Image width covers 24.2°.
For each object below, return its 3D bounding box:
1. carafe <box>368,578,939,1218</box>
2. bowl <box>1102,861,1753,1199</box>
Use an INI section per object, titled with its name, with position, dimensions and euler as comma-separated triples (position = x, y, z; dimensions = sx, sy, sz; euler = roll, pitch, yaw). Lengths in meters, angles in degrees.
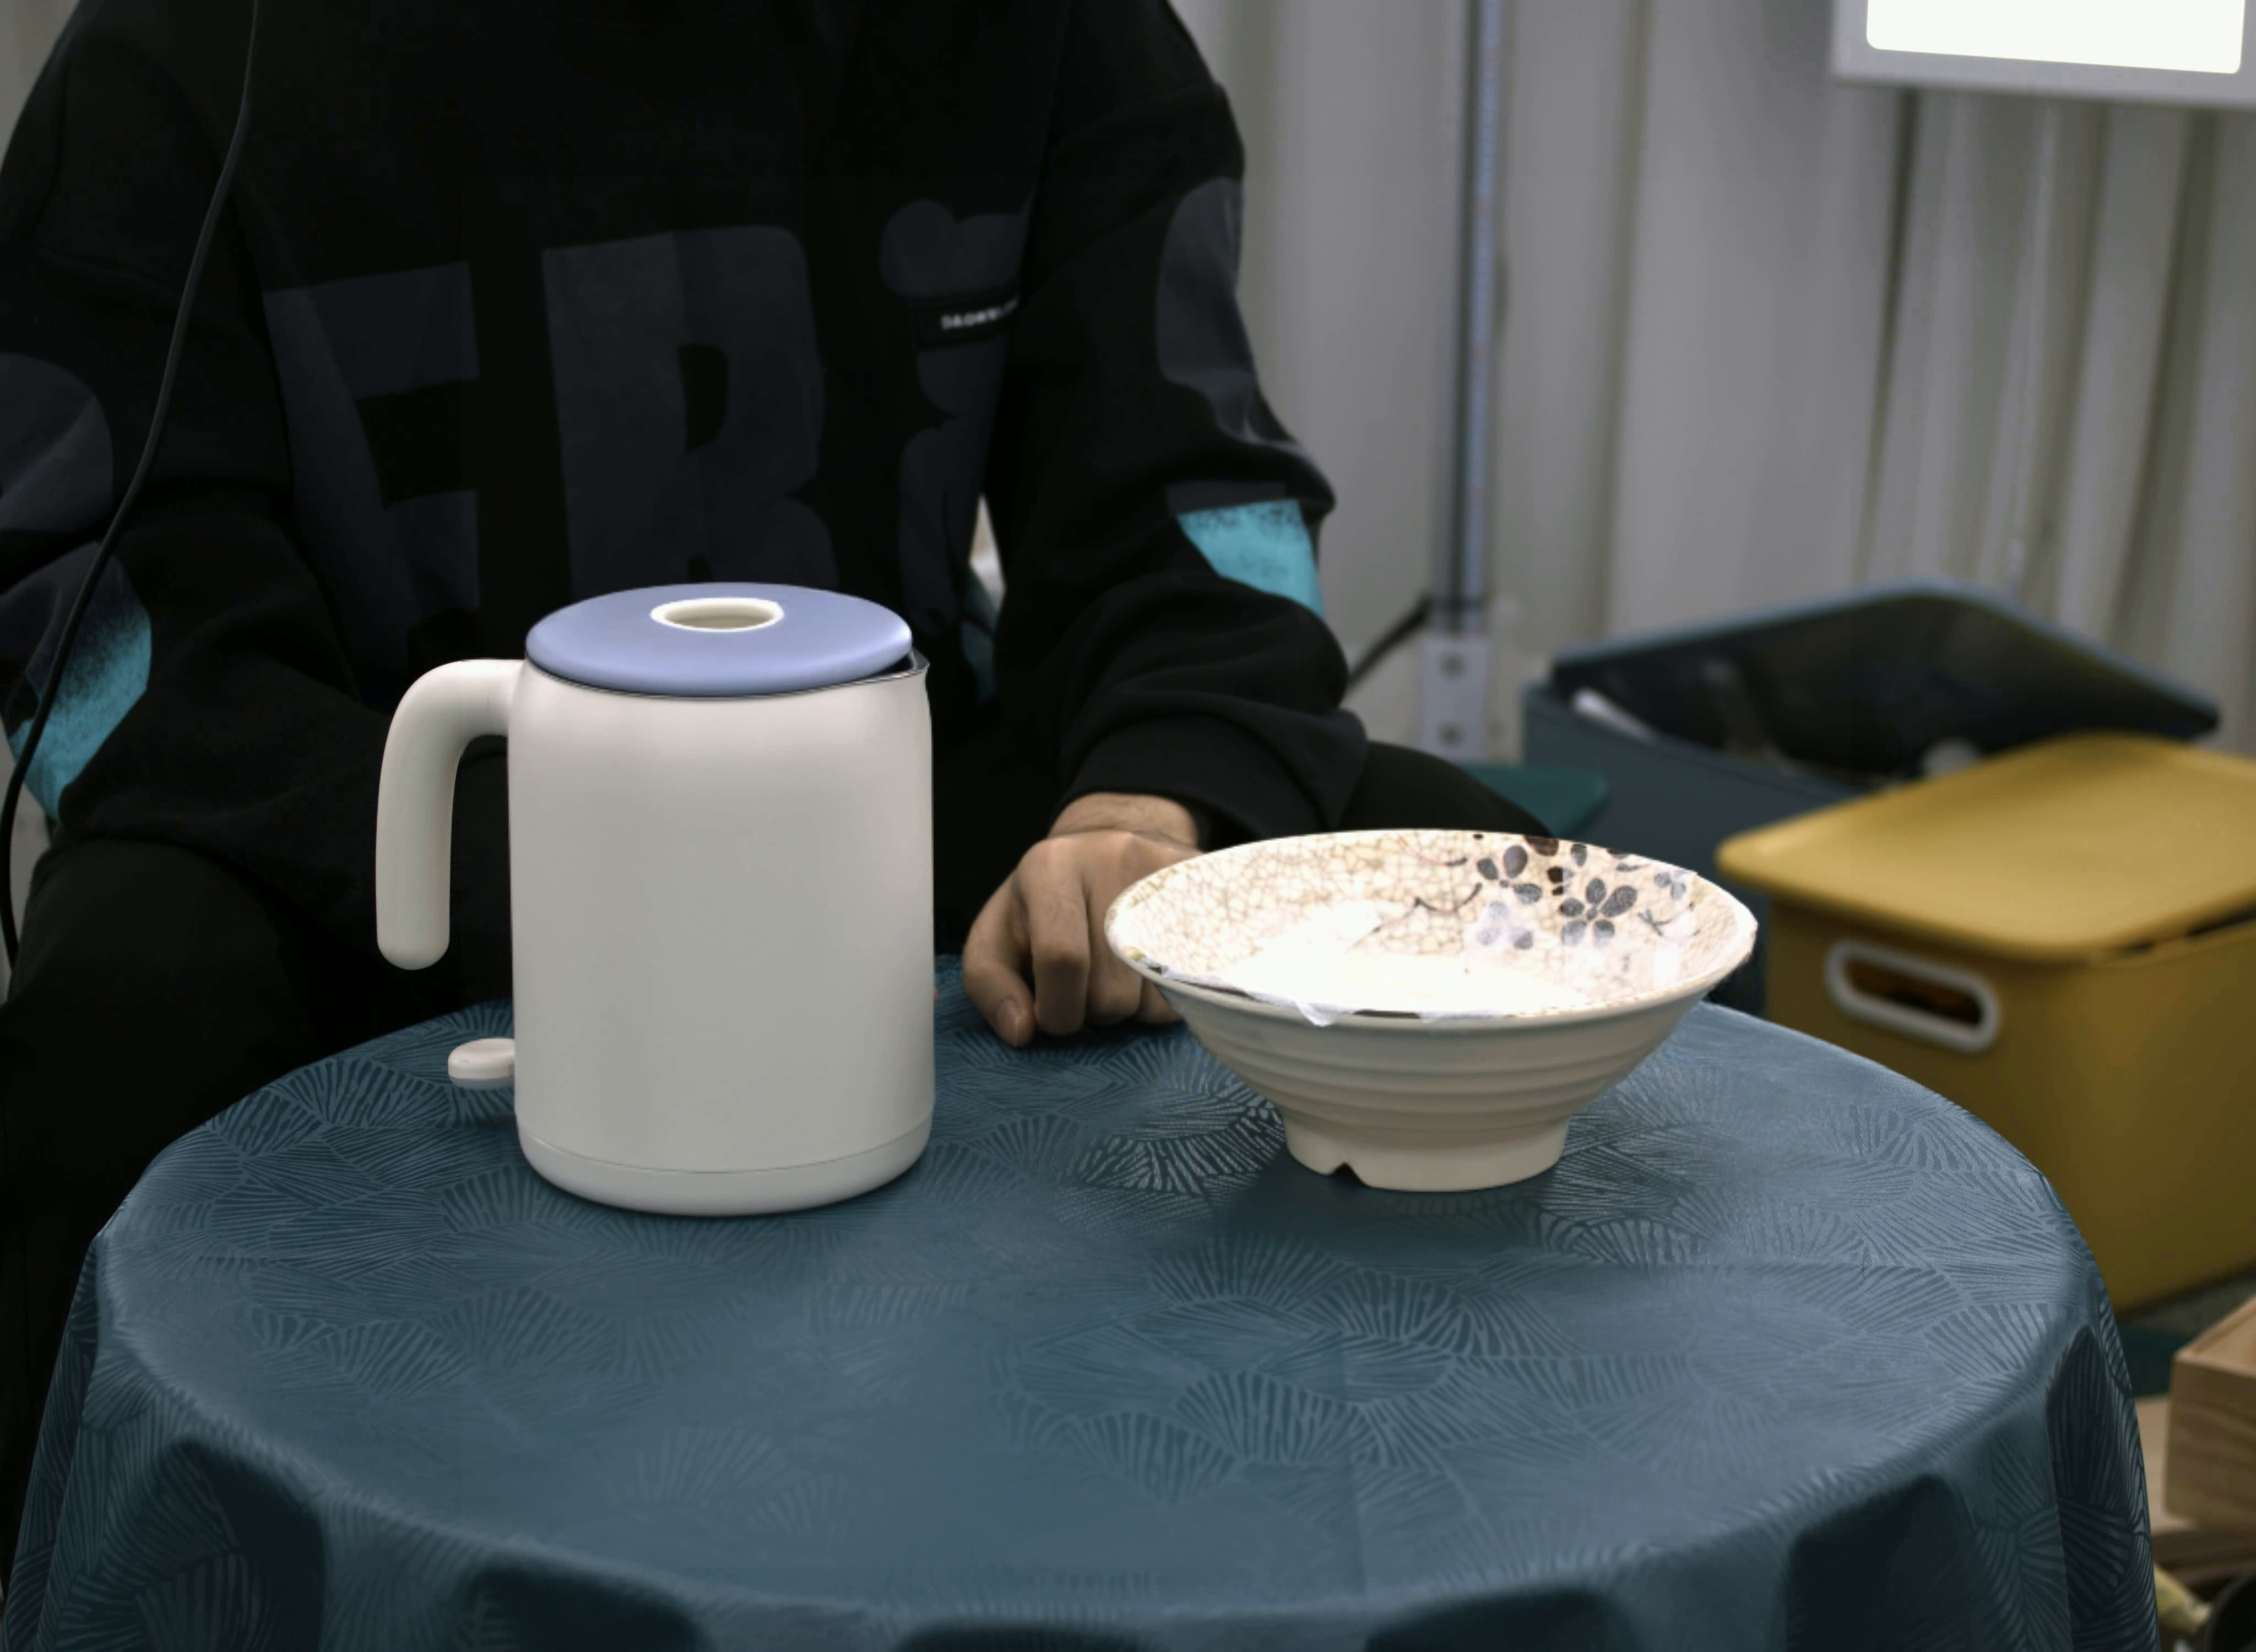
[carafe]
position = -0.148, 0.020, 1.630
dimensions = 0.189, 0.184, 0.132
euler = 3, 15, 18
[bowl]
position = 0.093, 0.068, 1.647
dimensions = 0.203, 0.078, 0.203
euler = 0, 11, 0
